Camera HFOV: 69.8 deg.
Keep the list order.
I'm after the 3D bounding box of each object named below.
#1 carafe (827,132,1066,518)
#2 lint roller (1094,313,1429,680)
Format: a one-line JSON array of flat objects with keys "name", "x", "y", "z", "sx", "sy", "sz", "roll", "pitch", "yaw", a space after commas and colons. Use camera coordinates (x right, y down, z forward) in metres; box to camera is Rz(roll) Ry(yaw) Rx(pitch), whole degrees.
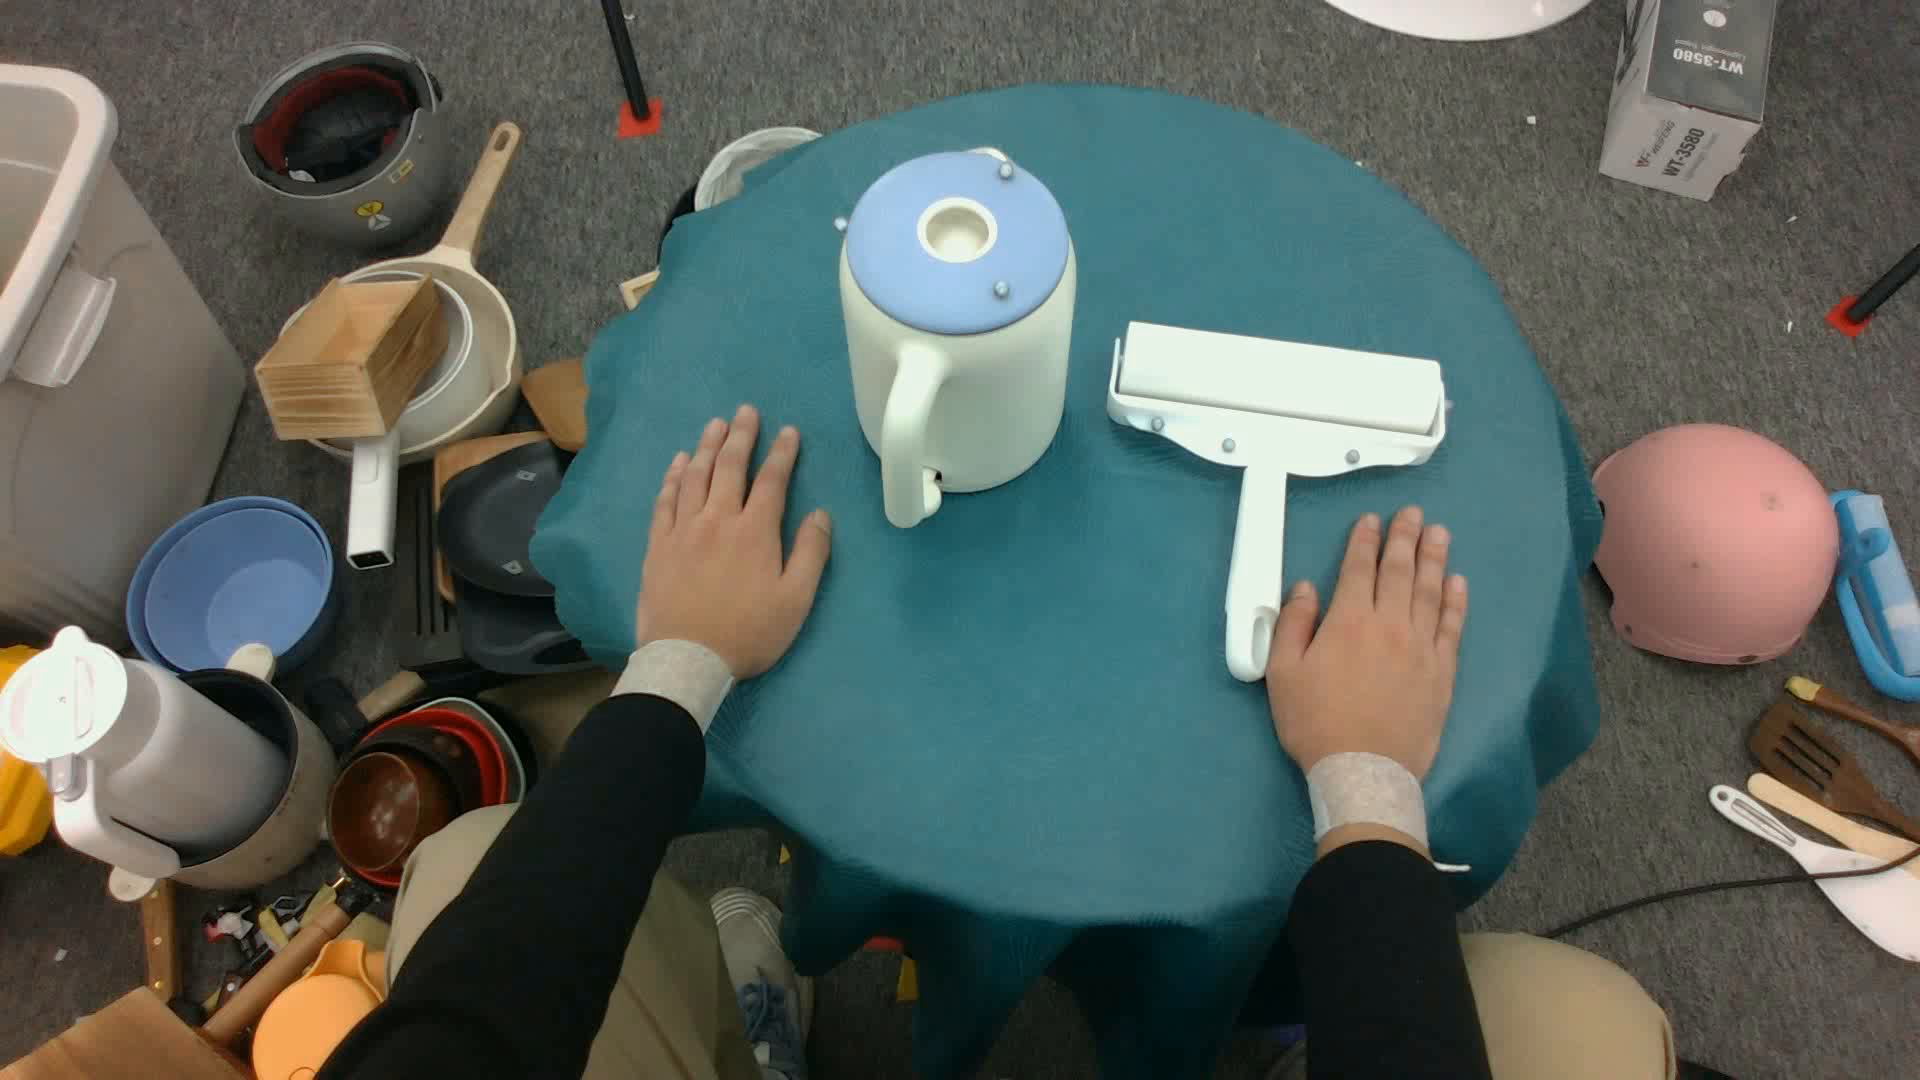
[{"name": "carafe", "x": -0.013, "y": -0.108, "z": 0.789, "sx": 0.132, "sy": 0.182, "sz": 0.192, "roll": 12, "pitch": 66, "yaw": 7}, {"name": "lint roller", "x": 0.175, "y": -0.027, "z": 0.821, "sx": 0.203, "sy": 0.048, "sz": 0.226, "roll": 8, "pitch": 65, "yaw": 2}]
